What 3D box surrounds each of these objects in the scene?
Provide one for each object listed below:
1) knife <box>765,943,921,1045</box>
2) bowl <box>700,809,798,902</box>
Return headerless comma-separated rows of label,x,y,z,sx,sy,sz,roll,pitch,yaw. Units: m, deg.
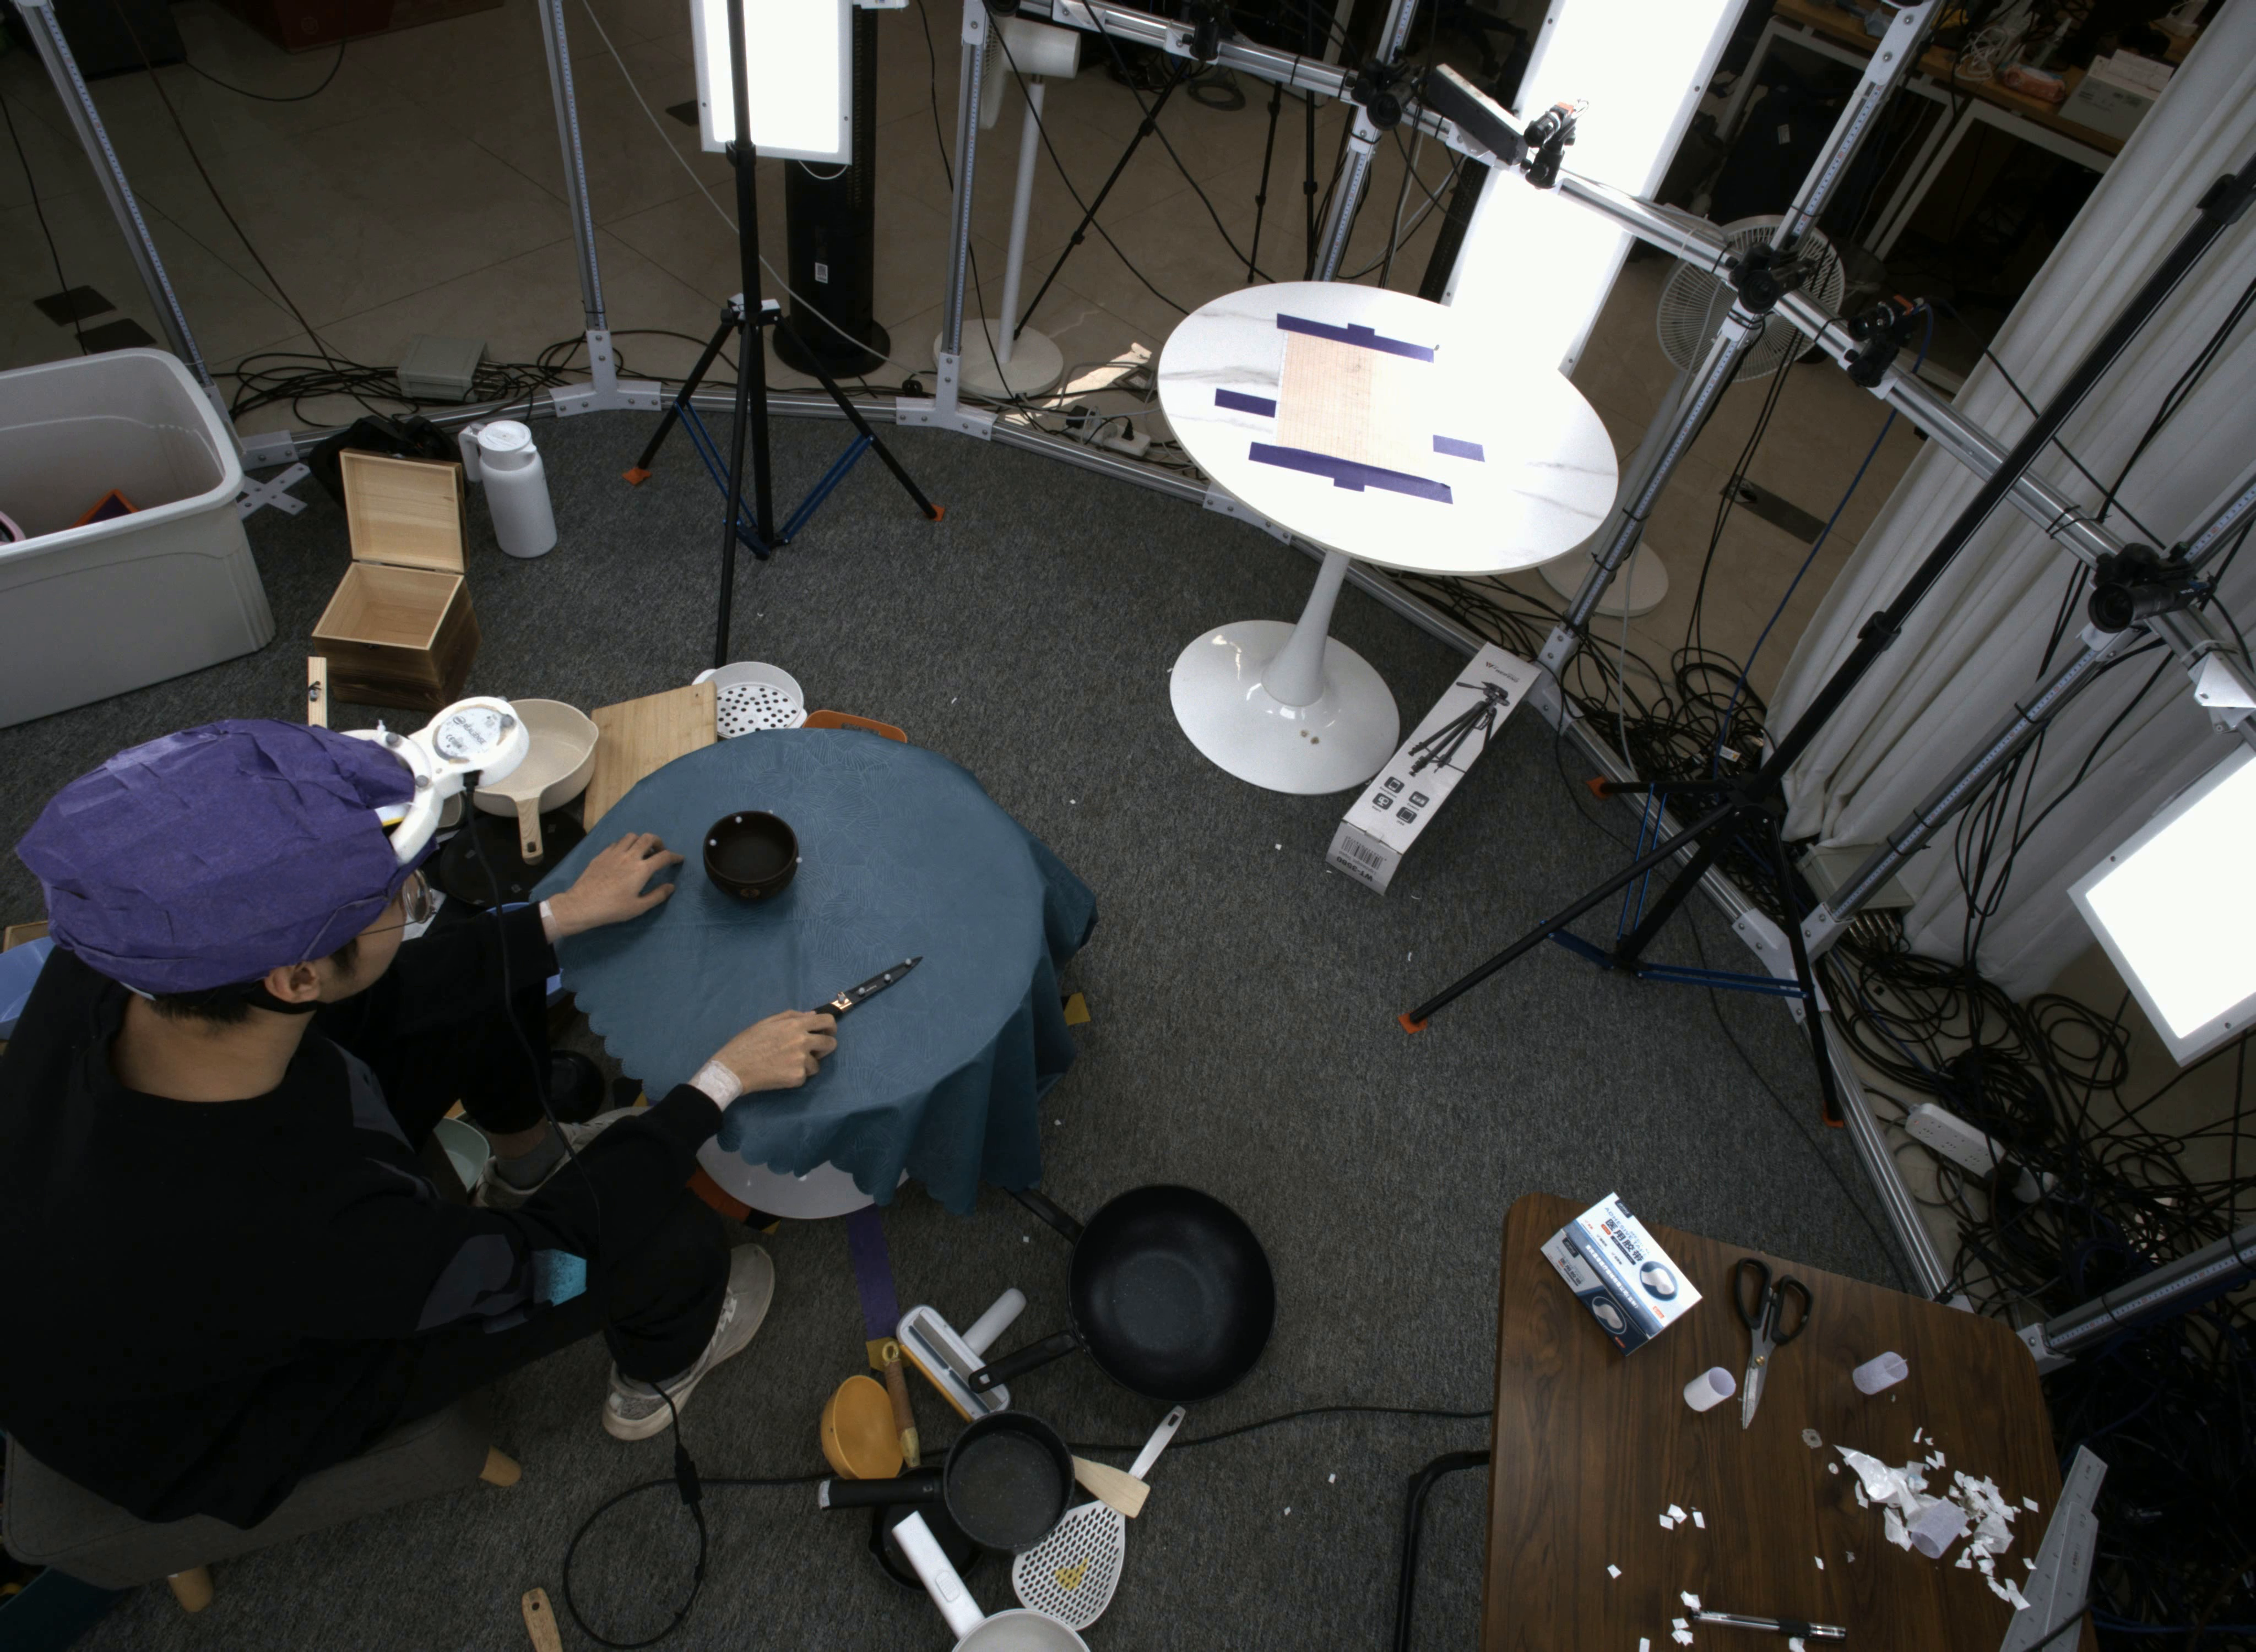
knife,-0.340,0.199,1.569,0.226,0.027,0.016,-30,40,-33
bowl,-0.473,0.043,1.620,0.117,0.071,0.116,6,53,-7
